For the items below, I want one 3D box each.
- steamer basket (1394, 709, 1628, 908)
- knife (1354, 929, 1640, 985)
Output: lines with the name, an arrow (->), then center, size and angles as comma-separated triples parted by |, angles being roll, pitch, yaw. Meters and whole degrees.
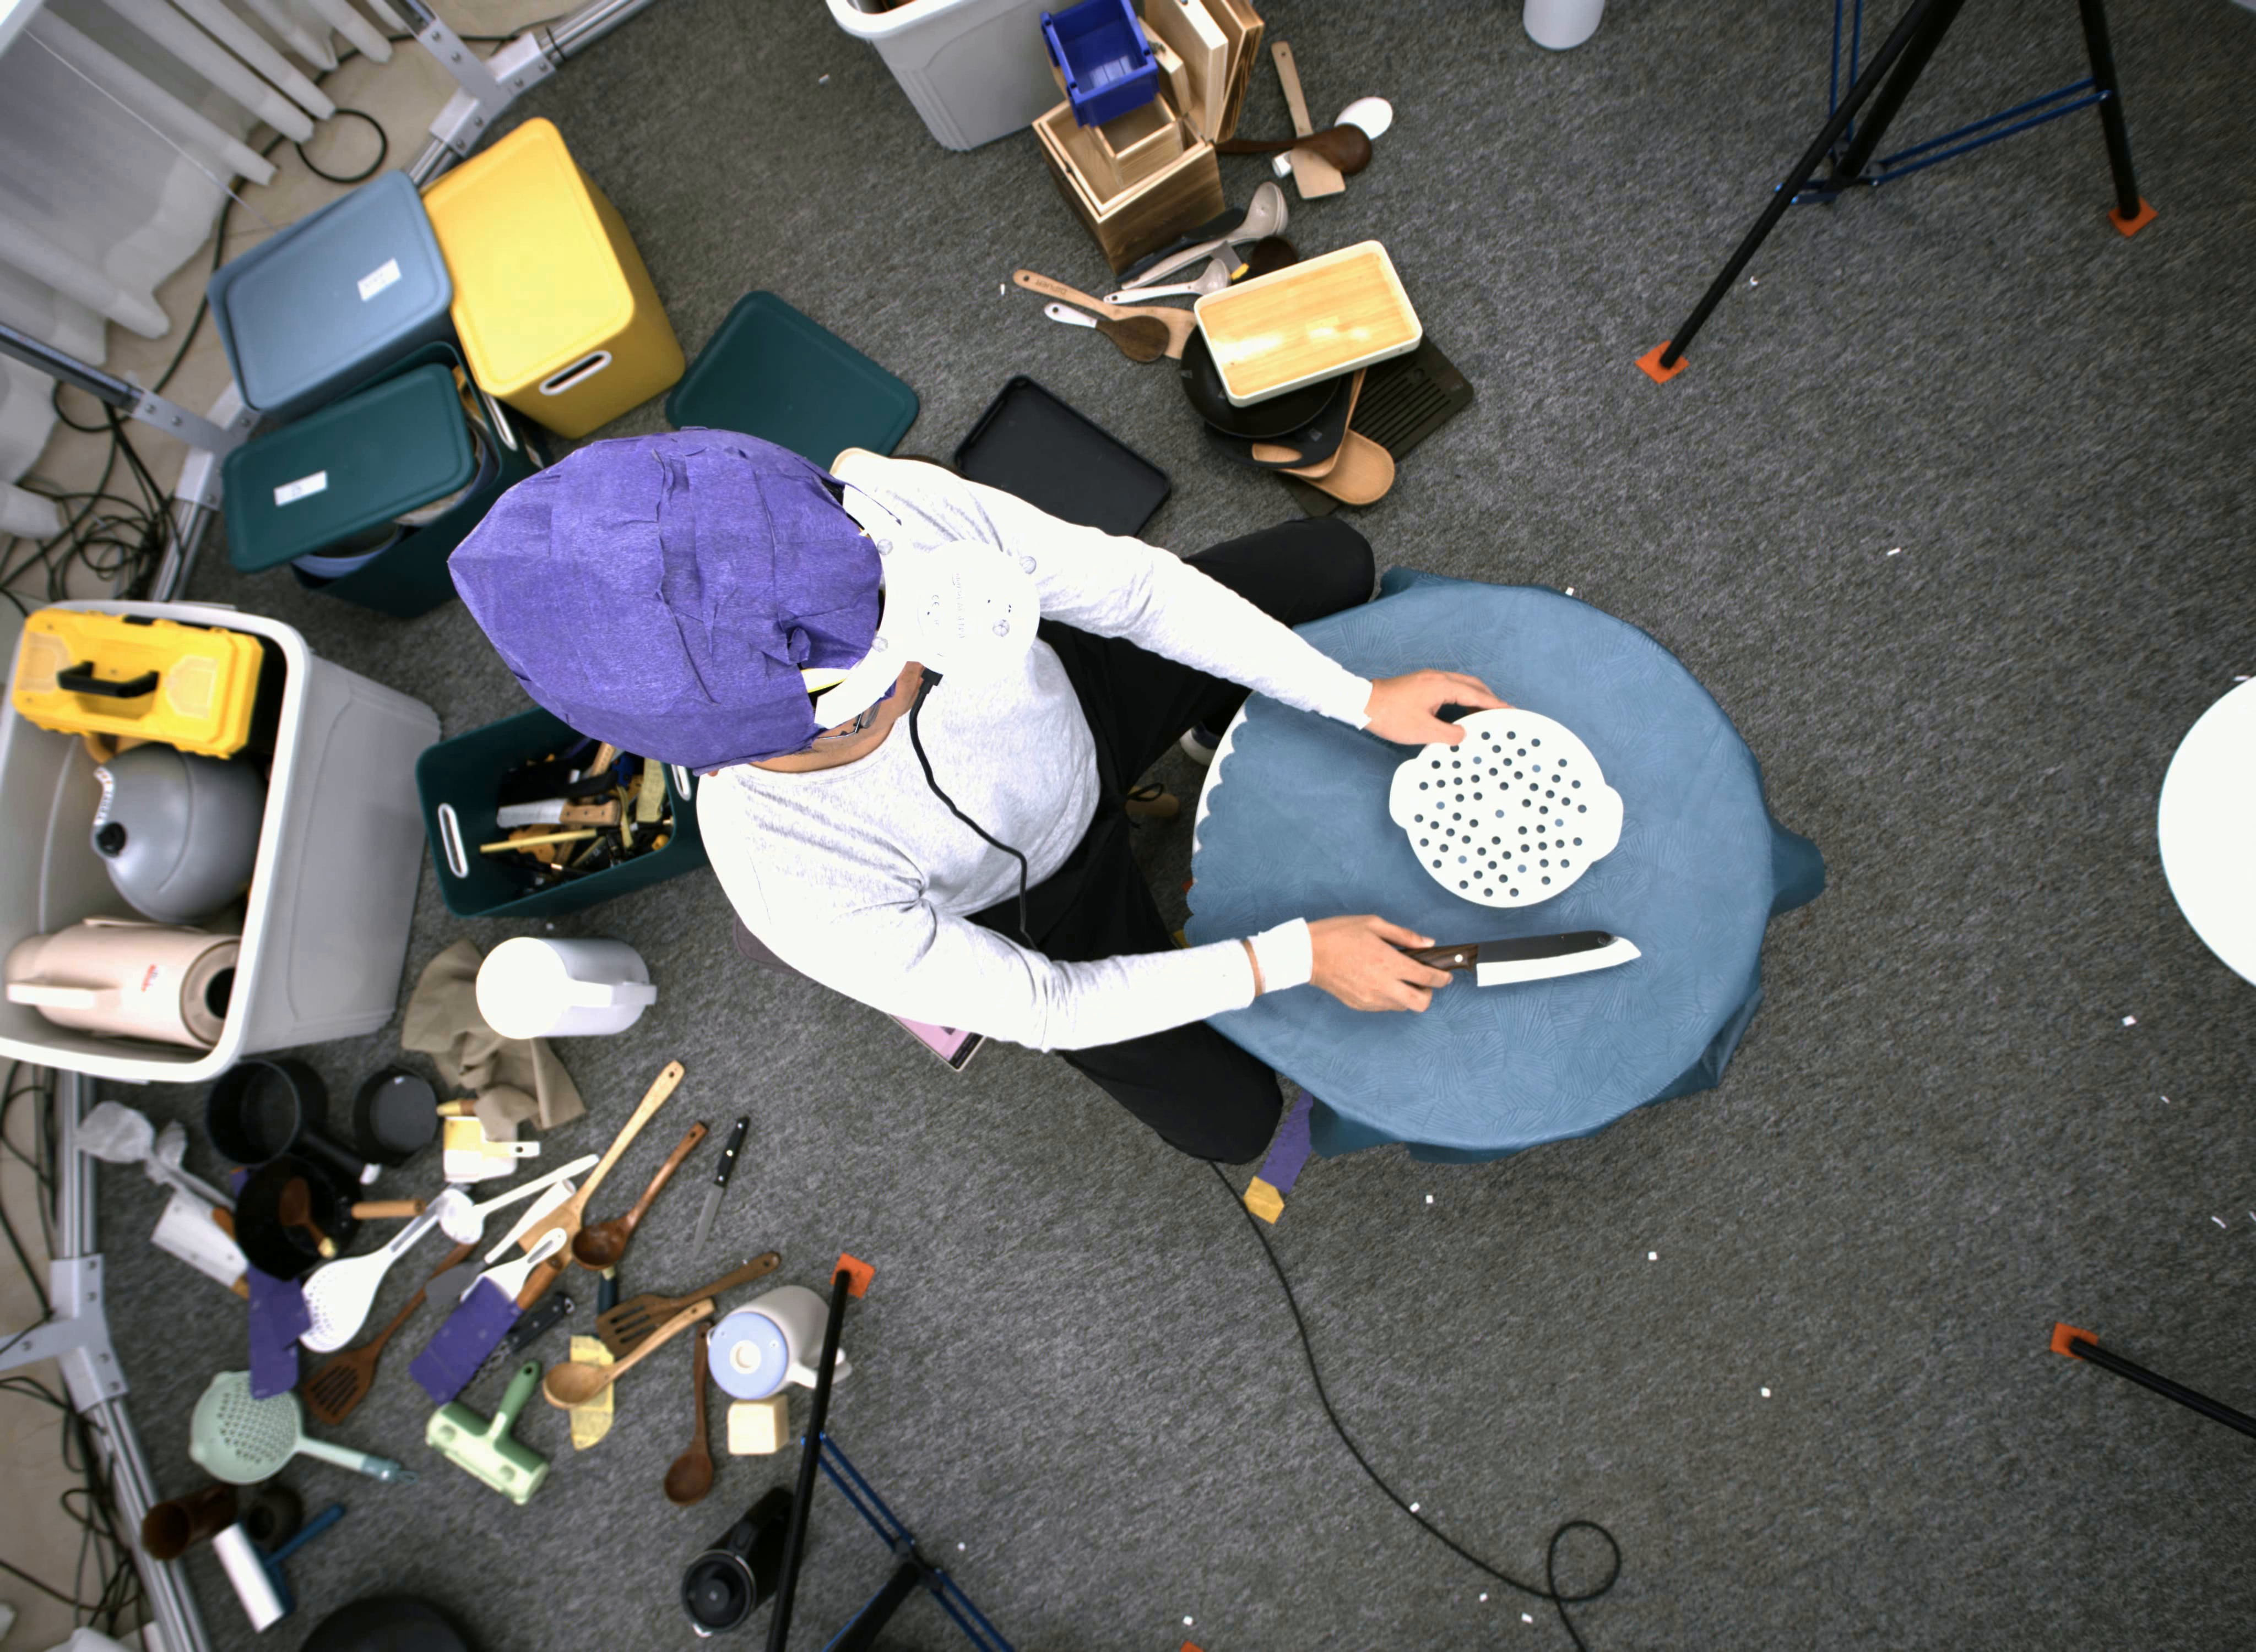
steamer basket -> 0.389, -0.017, 1.409 | 0.231, 0.069, 0.201 | 9, 87, 12
knife -> 0.373, 0.134, 1.391 | 0.290, 0.020, 0.050 | -5, 98, 4
